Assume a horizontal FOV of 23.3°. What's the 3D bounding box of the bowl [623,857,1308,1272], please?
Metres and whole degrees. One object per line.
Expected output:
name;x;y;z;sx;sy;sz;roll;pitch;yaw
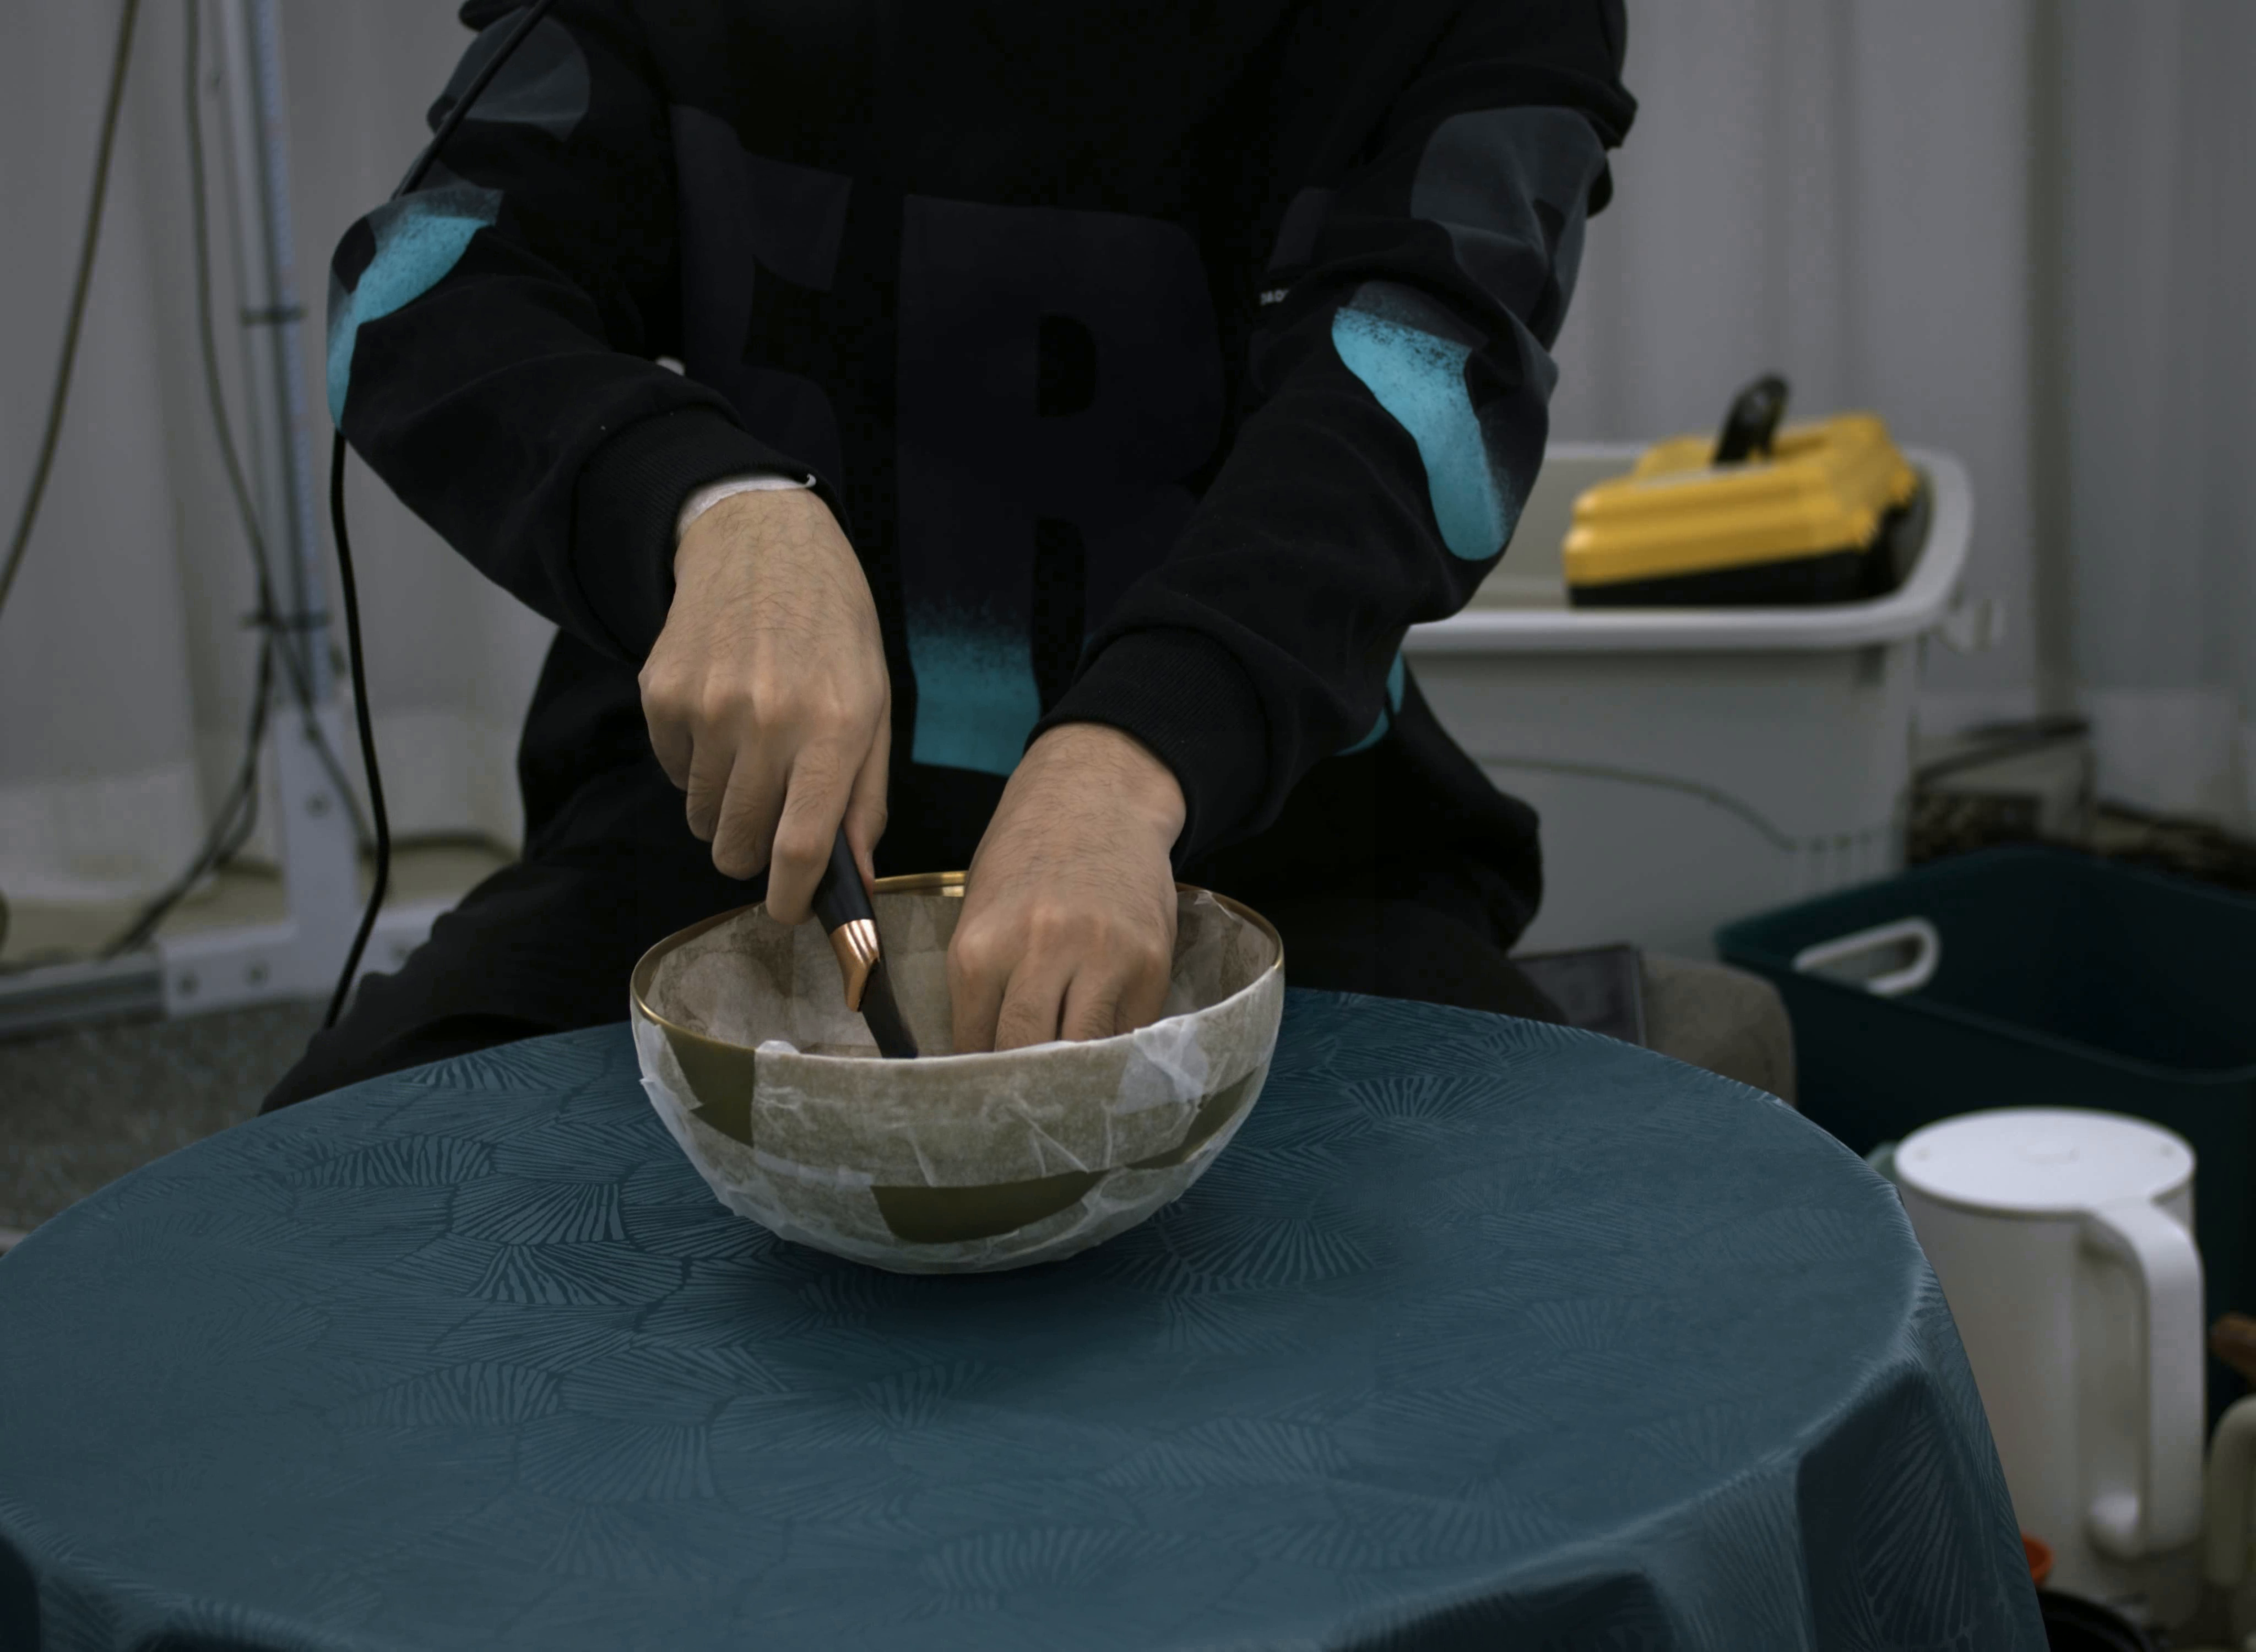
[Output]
bowl;-0.048;0.080;1.670;0.214;0.094;0.216;-4;15;1

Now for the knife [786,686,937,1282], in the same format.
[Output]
knife;-0.078;0.045;1.685;0.026;0.017;0.229;-21;52;7
